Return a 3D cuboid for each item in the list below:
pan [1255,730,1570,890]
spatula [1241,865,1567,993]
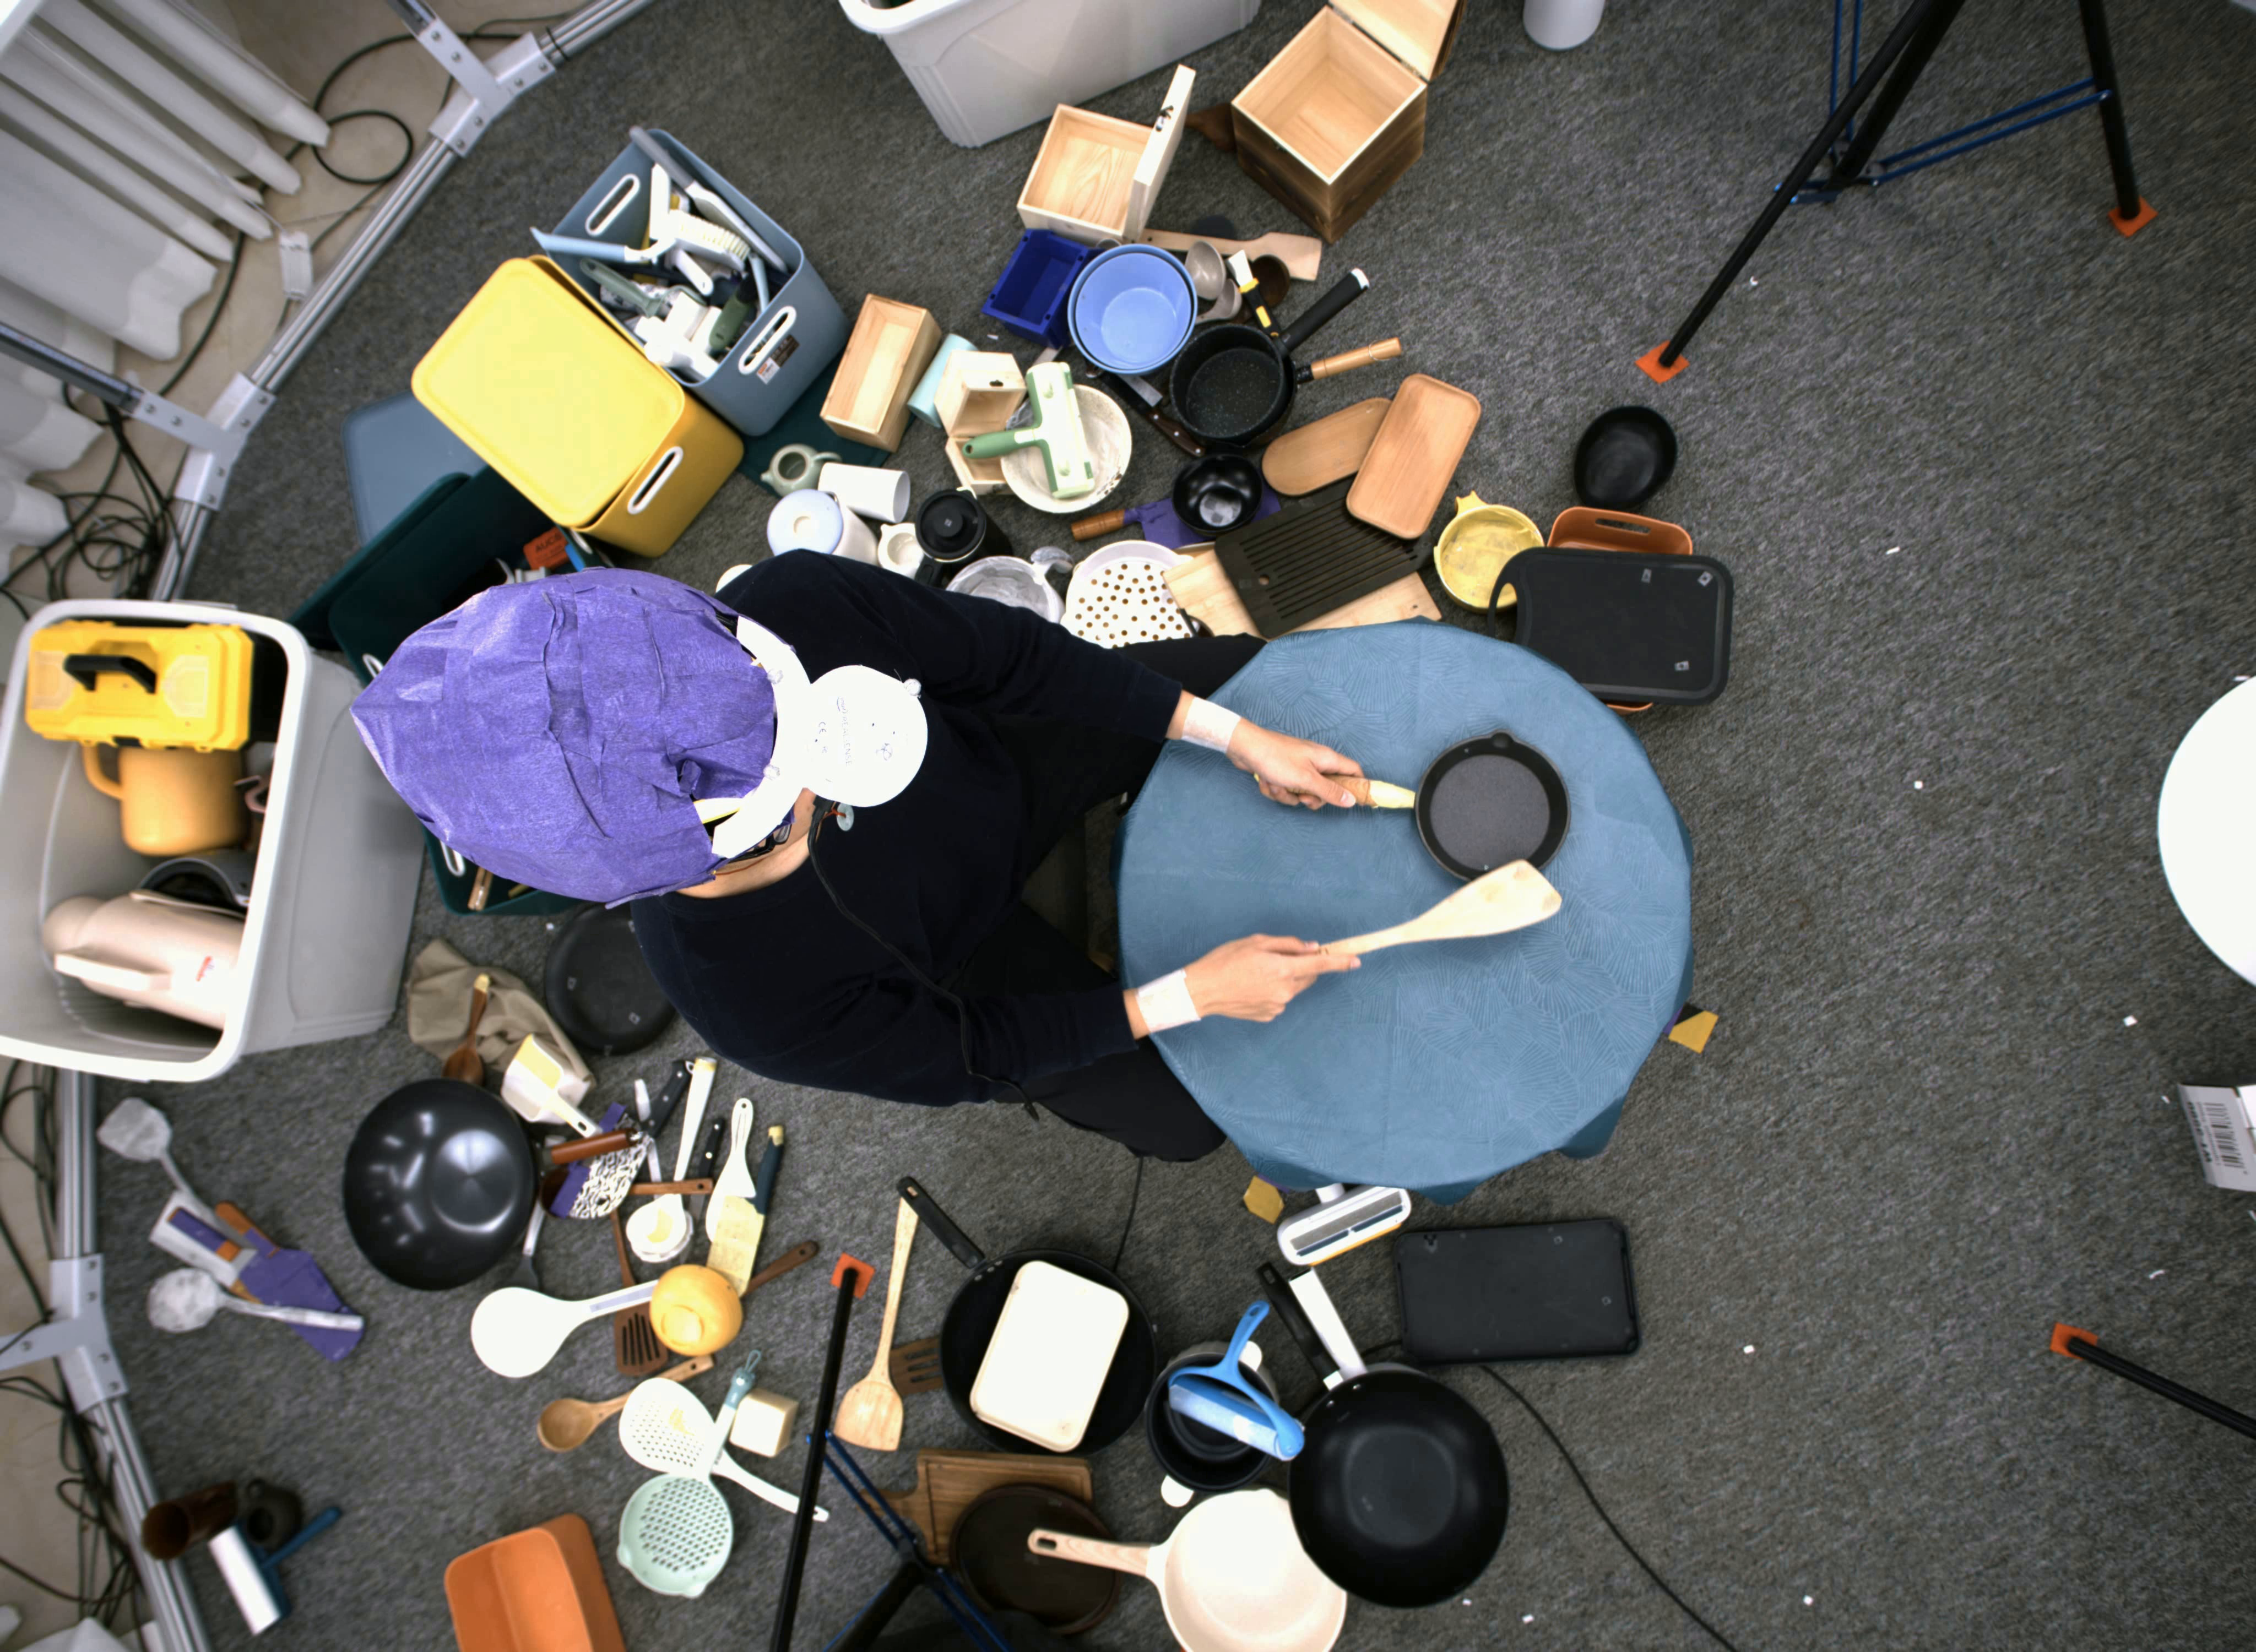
[{"bbox_3d":[0.294,-0.033,1.434,0.325,0.049,0.168,11,89,9],"label":"pan"},{"bbox_3d":[0.269,0.108,1.380,0.329,0.017,0.078,-17,43,5],"label":"spatula"}]
